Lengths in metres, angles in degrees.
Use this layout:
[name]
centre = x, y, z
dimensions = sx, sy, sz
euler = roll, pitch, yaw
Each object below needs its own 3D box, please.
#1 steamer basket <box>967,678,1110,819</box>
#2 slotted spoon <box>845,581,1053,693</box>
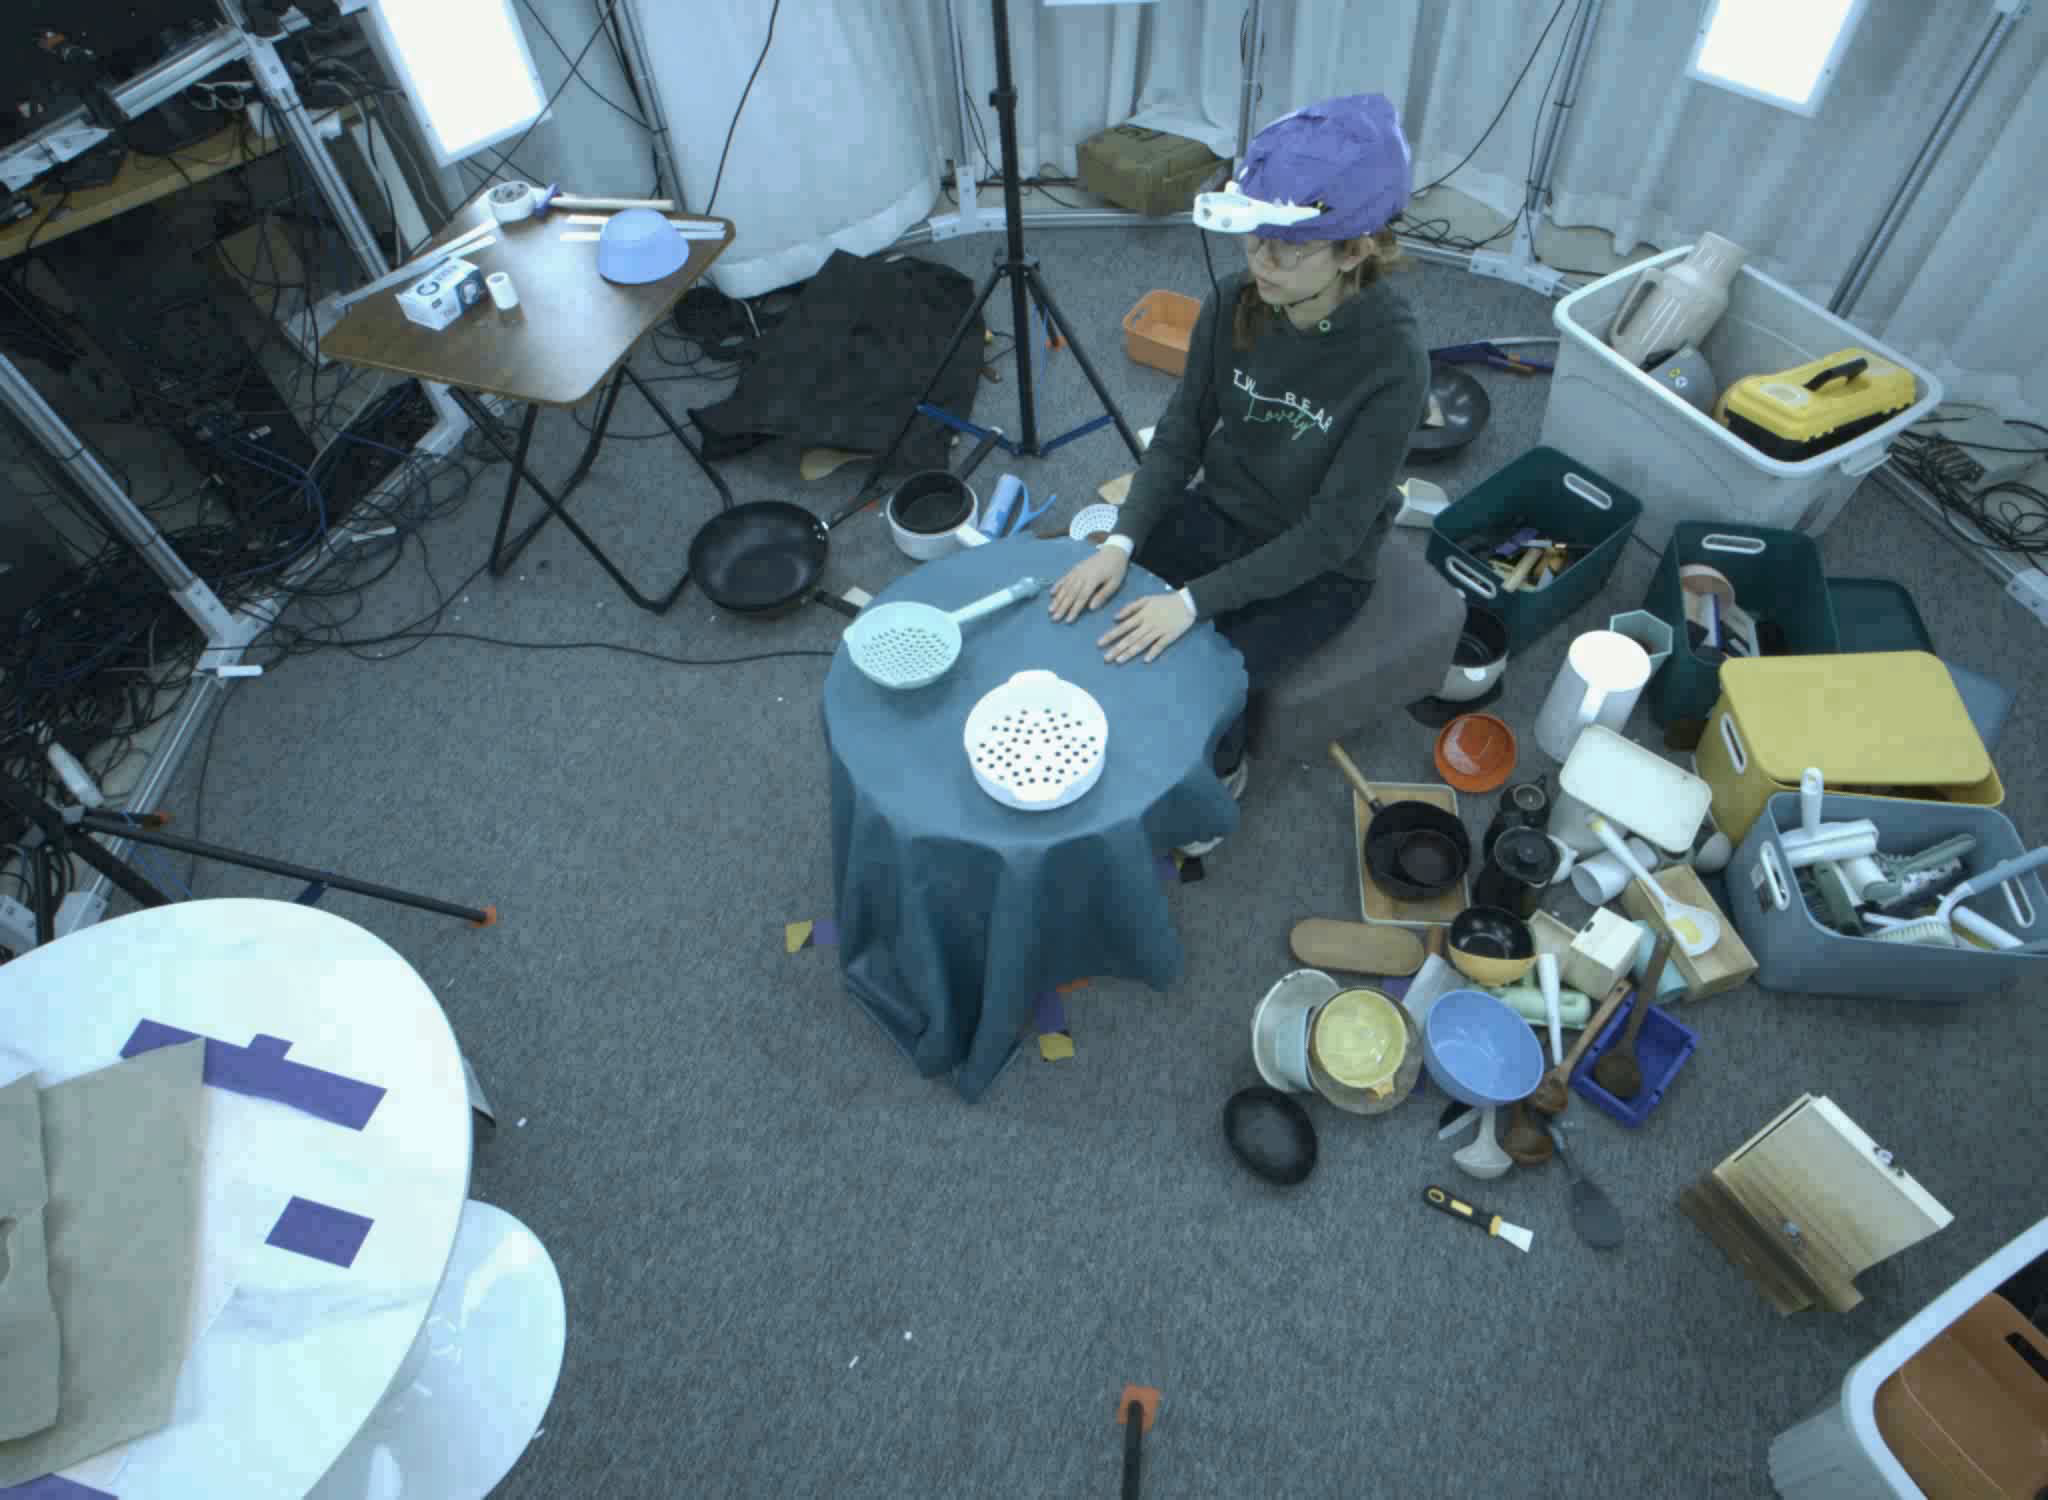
[steamer basket]
centre = 0.022, 0.003, 1.756
dimensions = 0.202, 0.070, 0.228
euler = -3, 54, -2
[slotted spoon]
centre = -0.101, -0.194, 1.898
dimensions = 0.361, 0.076, 0.166
euler = -33, 61, -20
